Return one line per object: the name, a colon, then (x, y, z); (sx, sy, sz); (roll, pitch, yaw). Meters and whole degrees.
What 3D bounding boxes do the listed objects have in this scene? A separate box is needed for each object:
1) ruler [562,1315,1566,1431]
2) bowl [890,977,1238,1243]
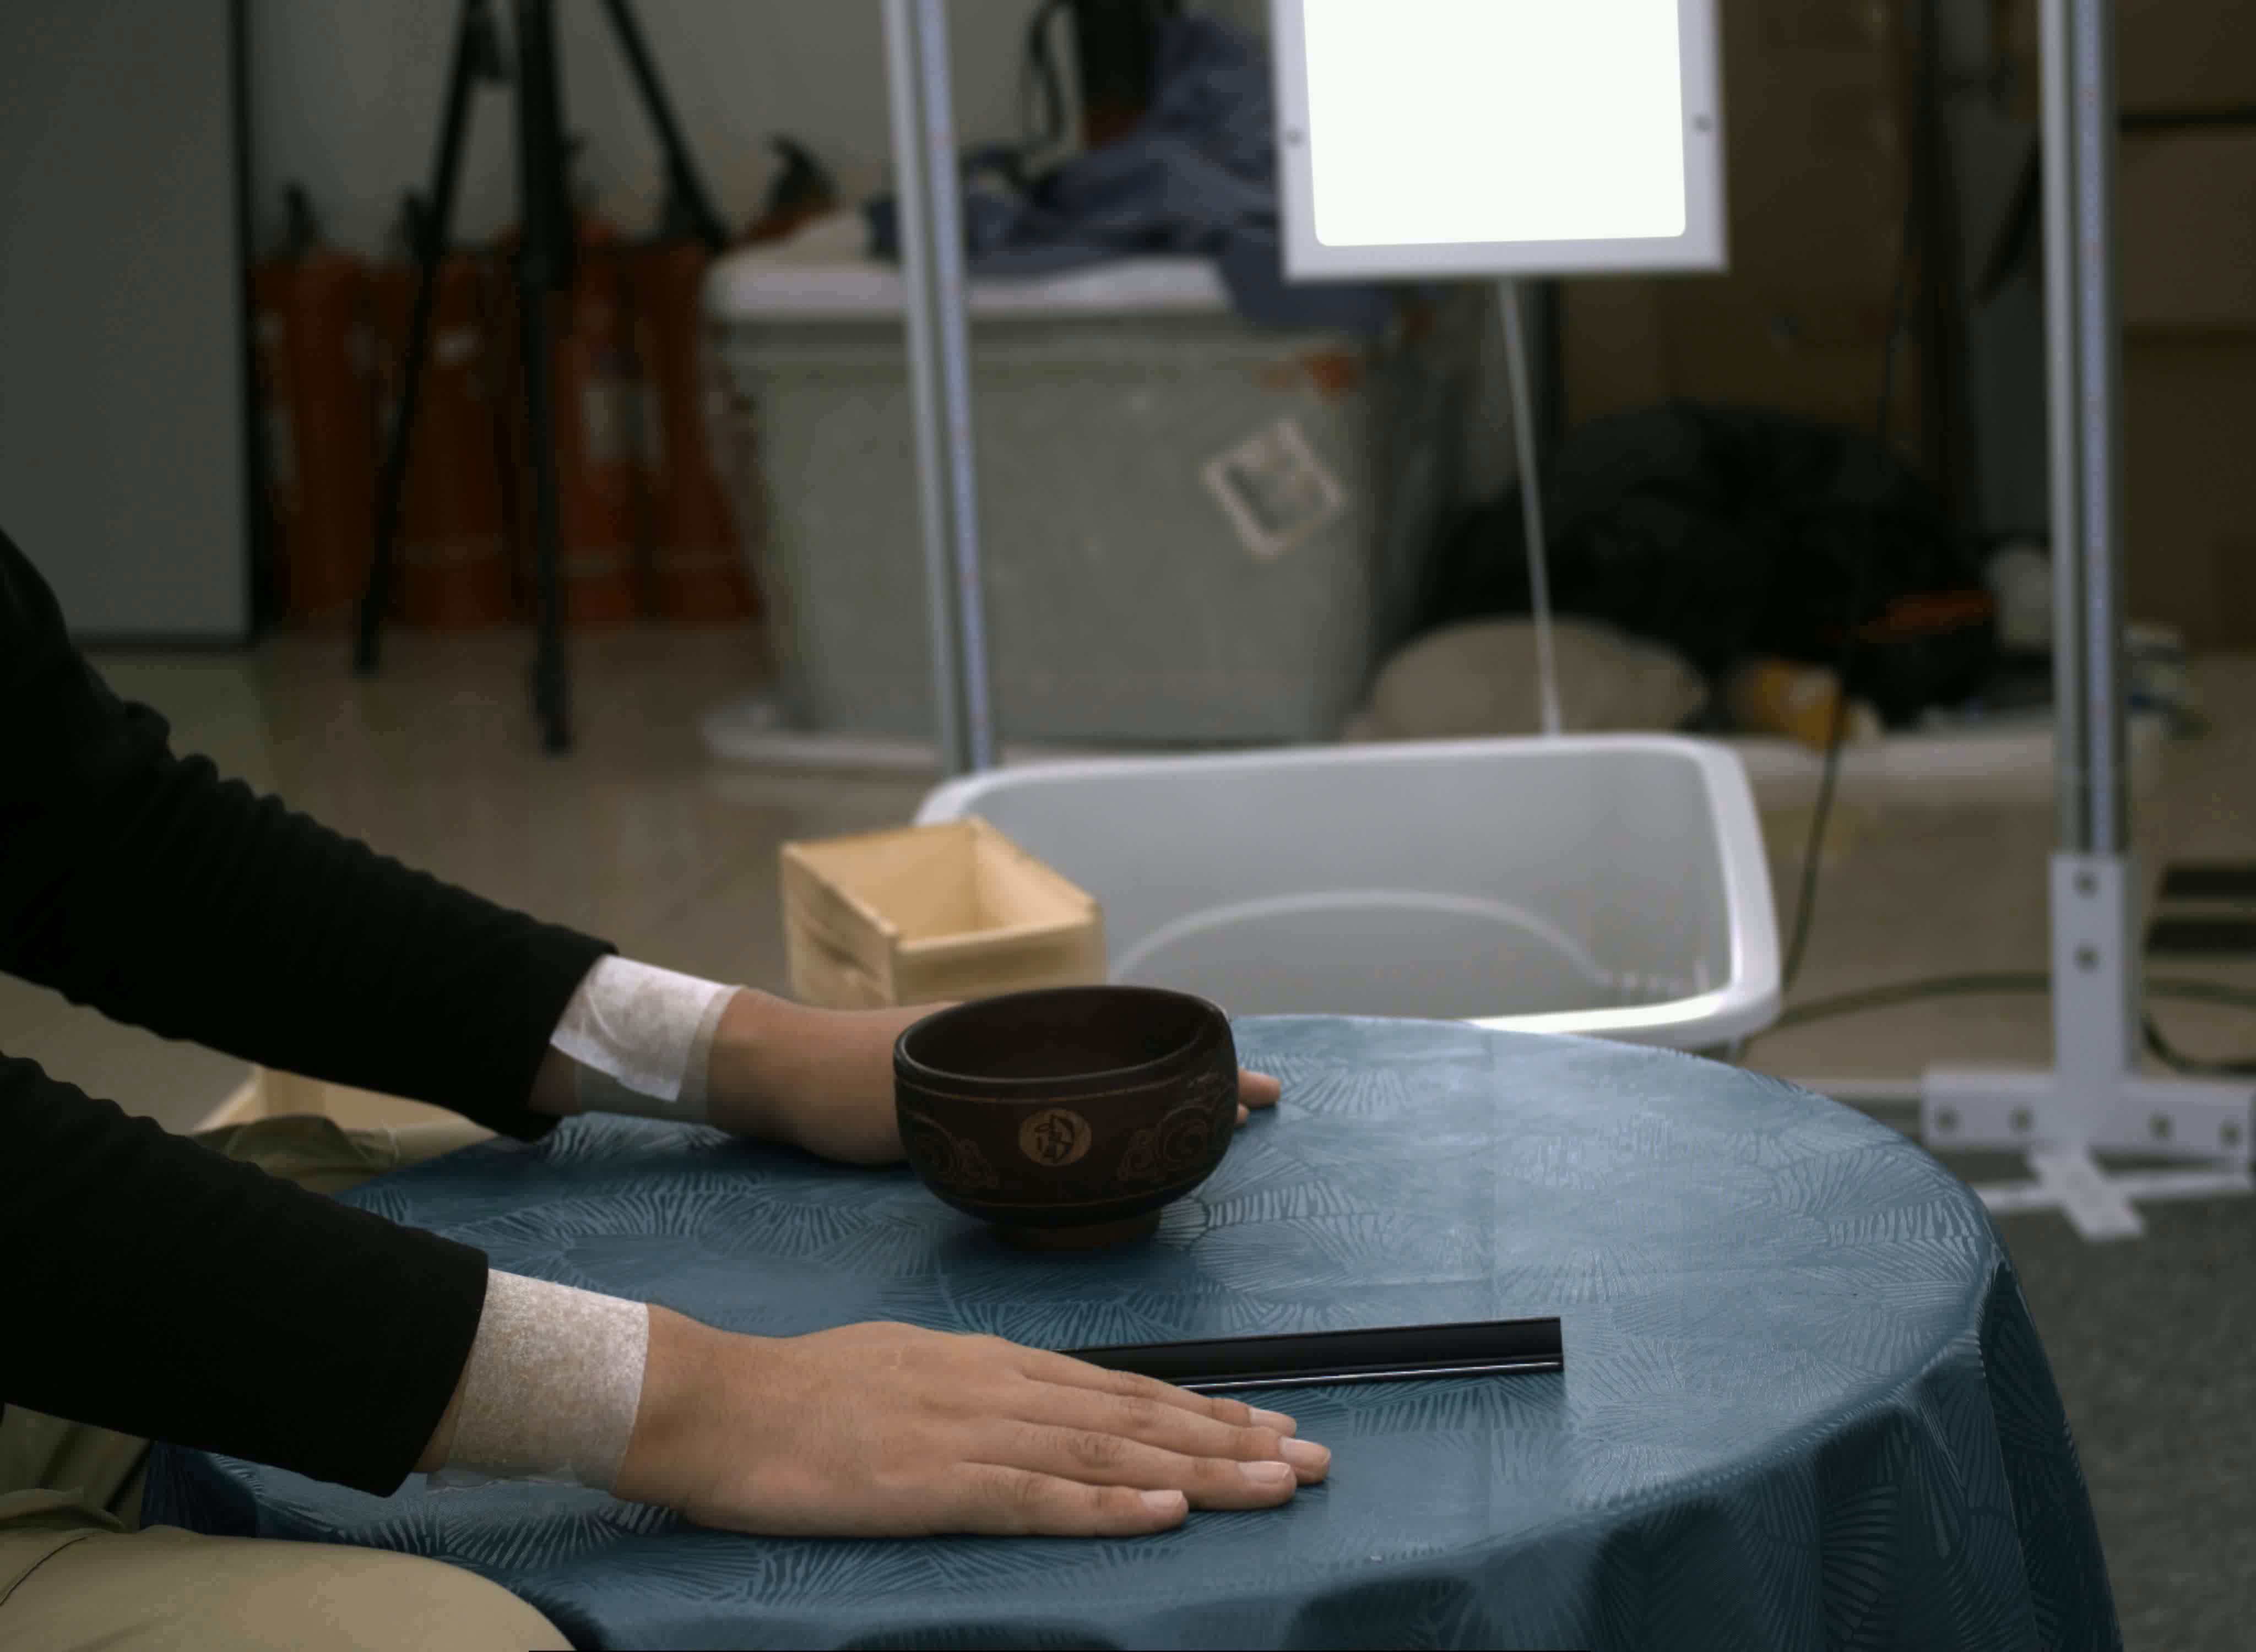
ruler: (-0.020, 0.166, 1.713); (0.313, 0.017, 0.039); (-4, 9, 5)
bowl: (-0.020, 0.099, 1.860); (0.118, 0.070, 0.118); (-4, 13, 0)
